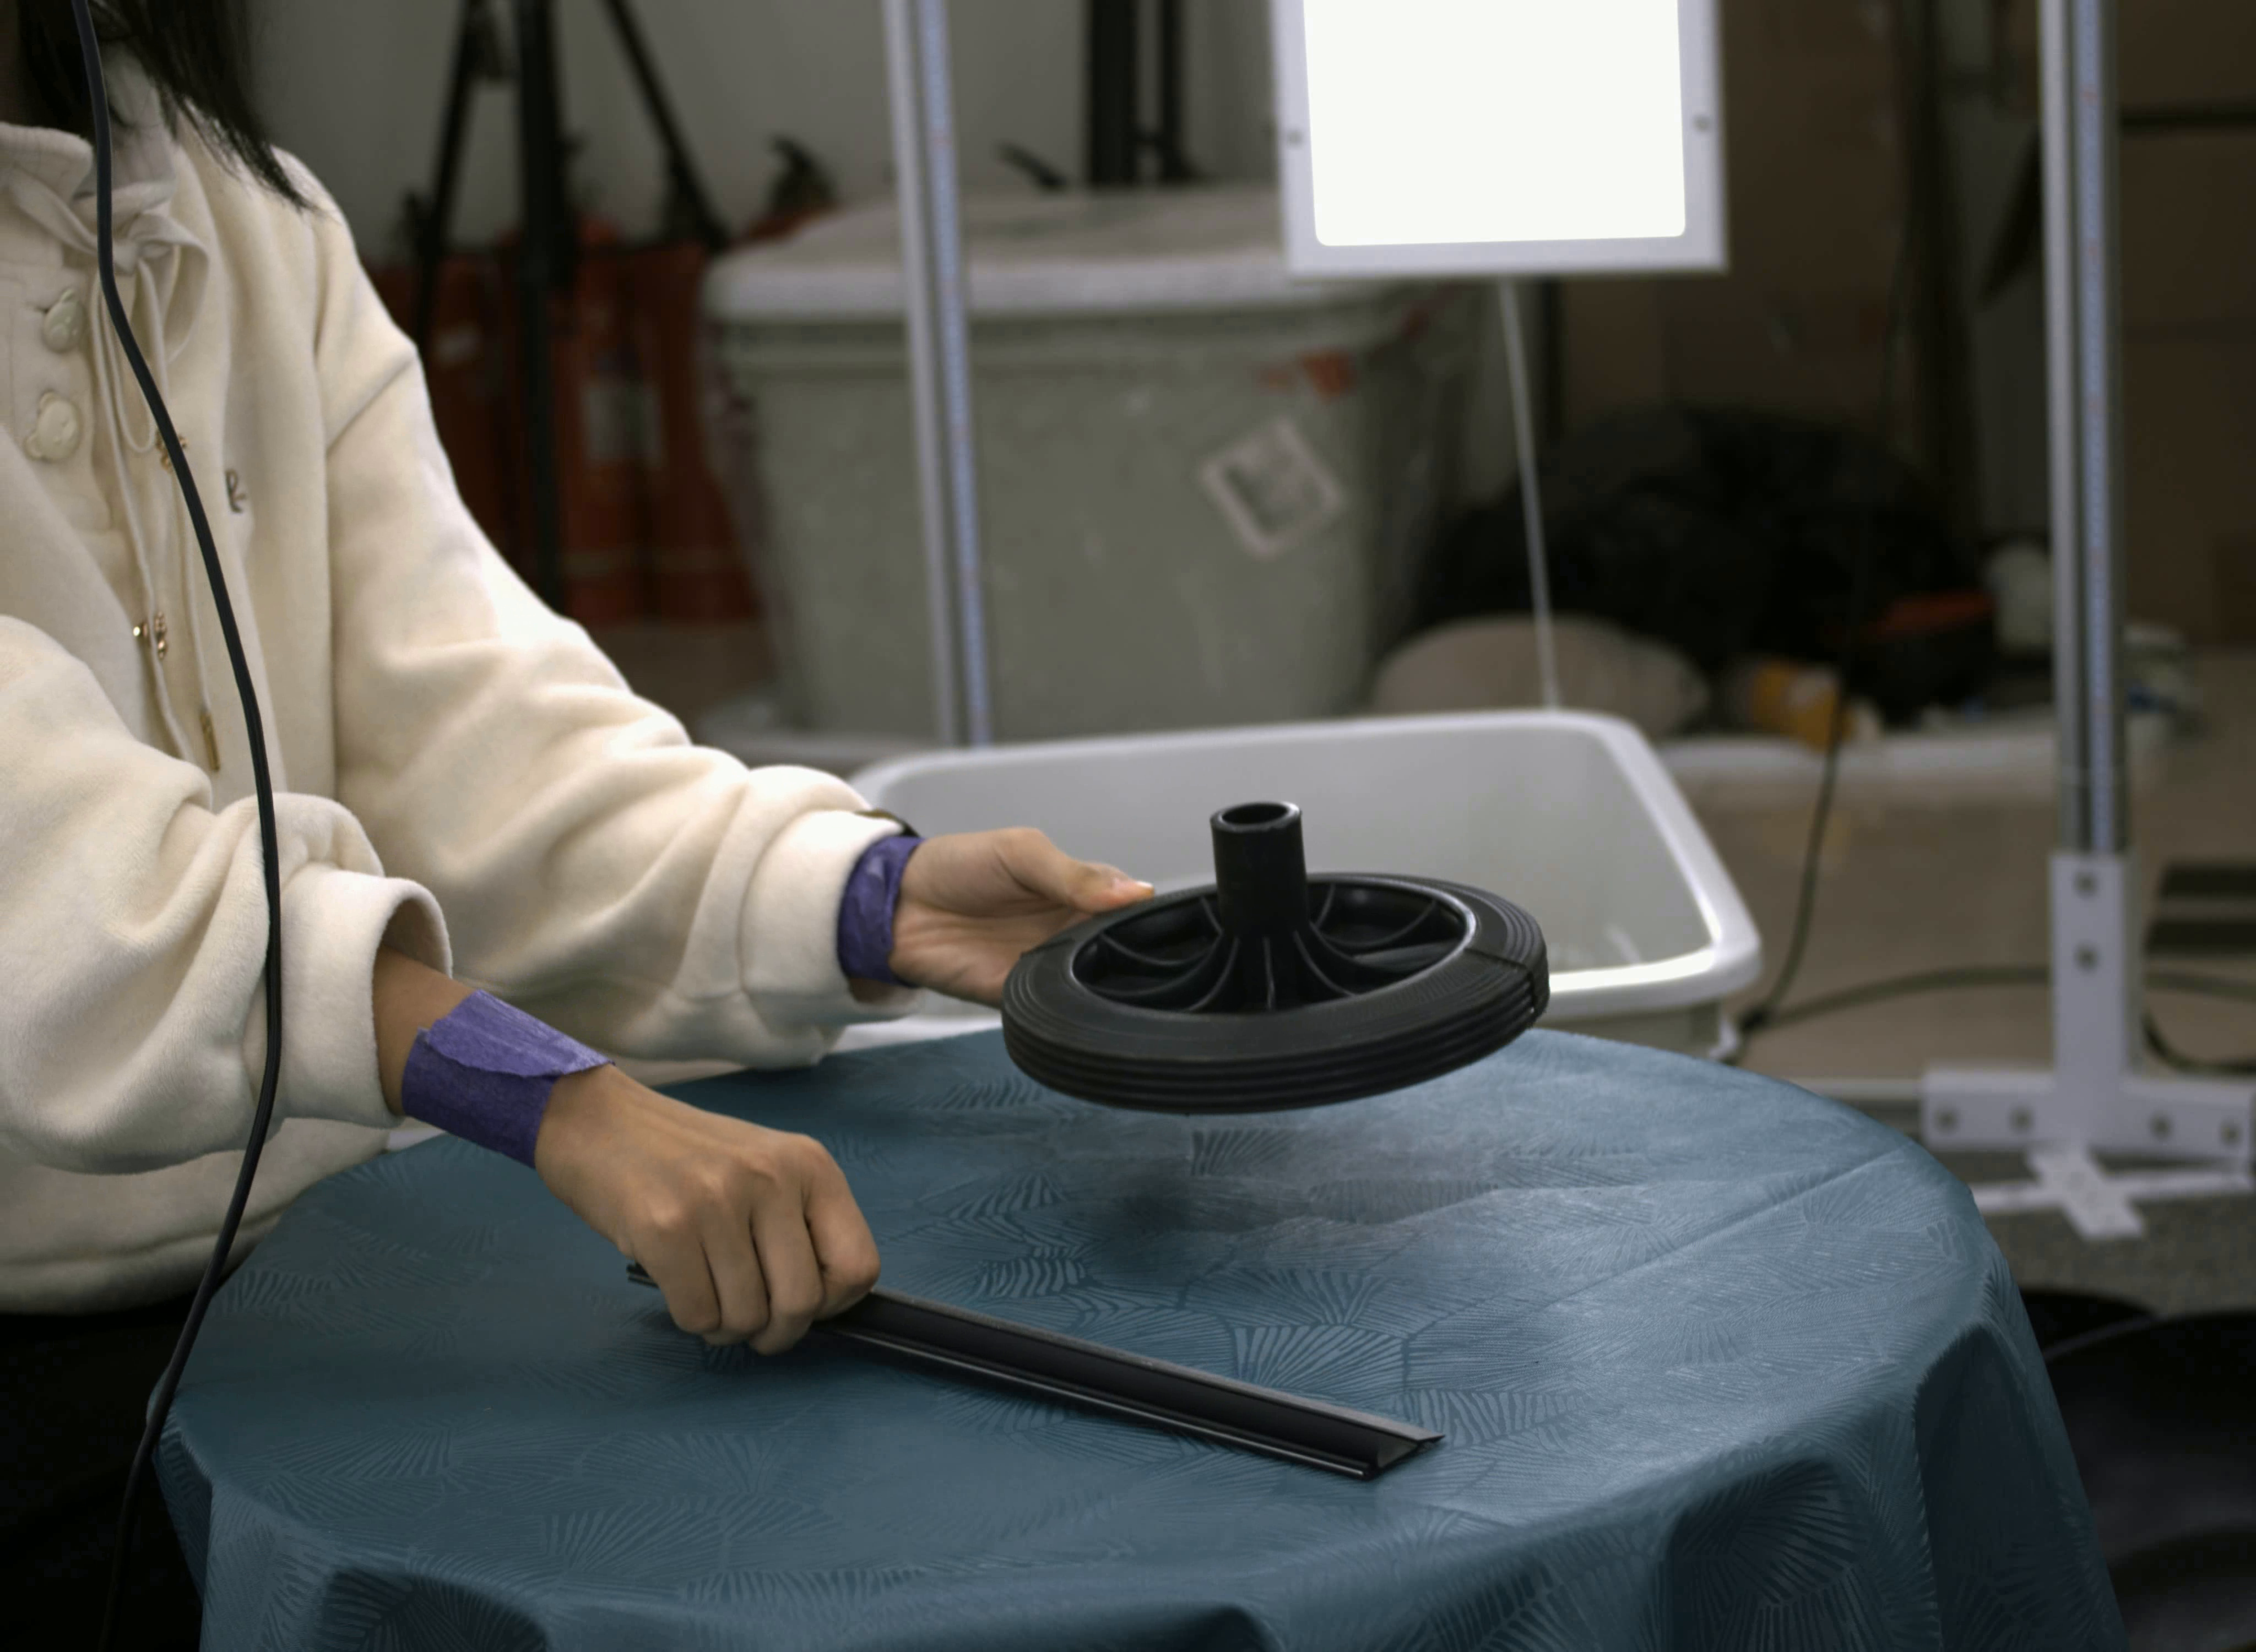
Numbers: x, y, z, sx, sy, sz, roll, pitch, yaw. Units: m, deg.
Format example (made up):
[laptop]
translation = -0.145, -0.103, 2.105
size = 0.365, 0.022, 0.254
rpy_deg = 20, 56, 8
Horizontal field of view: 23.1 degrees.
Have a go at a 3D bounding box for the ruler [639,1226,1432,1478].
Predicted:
[ruler]
translation = -0.035, 0.157, 1.722
size = 0.319, 0.017, 0.038
rpy_deg = 11, 20, 43

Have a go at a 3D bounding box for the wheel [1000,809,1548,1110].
[wheel]
translation = 0.048, 0.036, 1.871
size = 0.186, 0.079, 0.191
rpy_deg = -16, 19, -27
